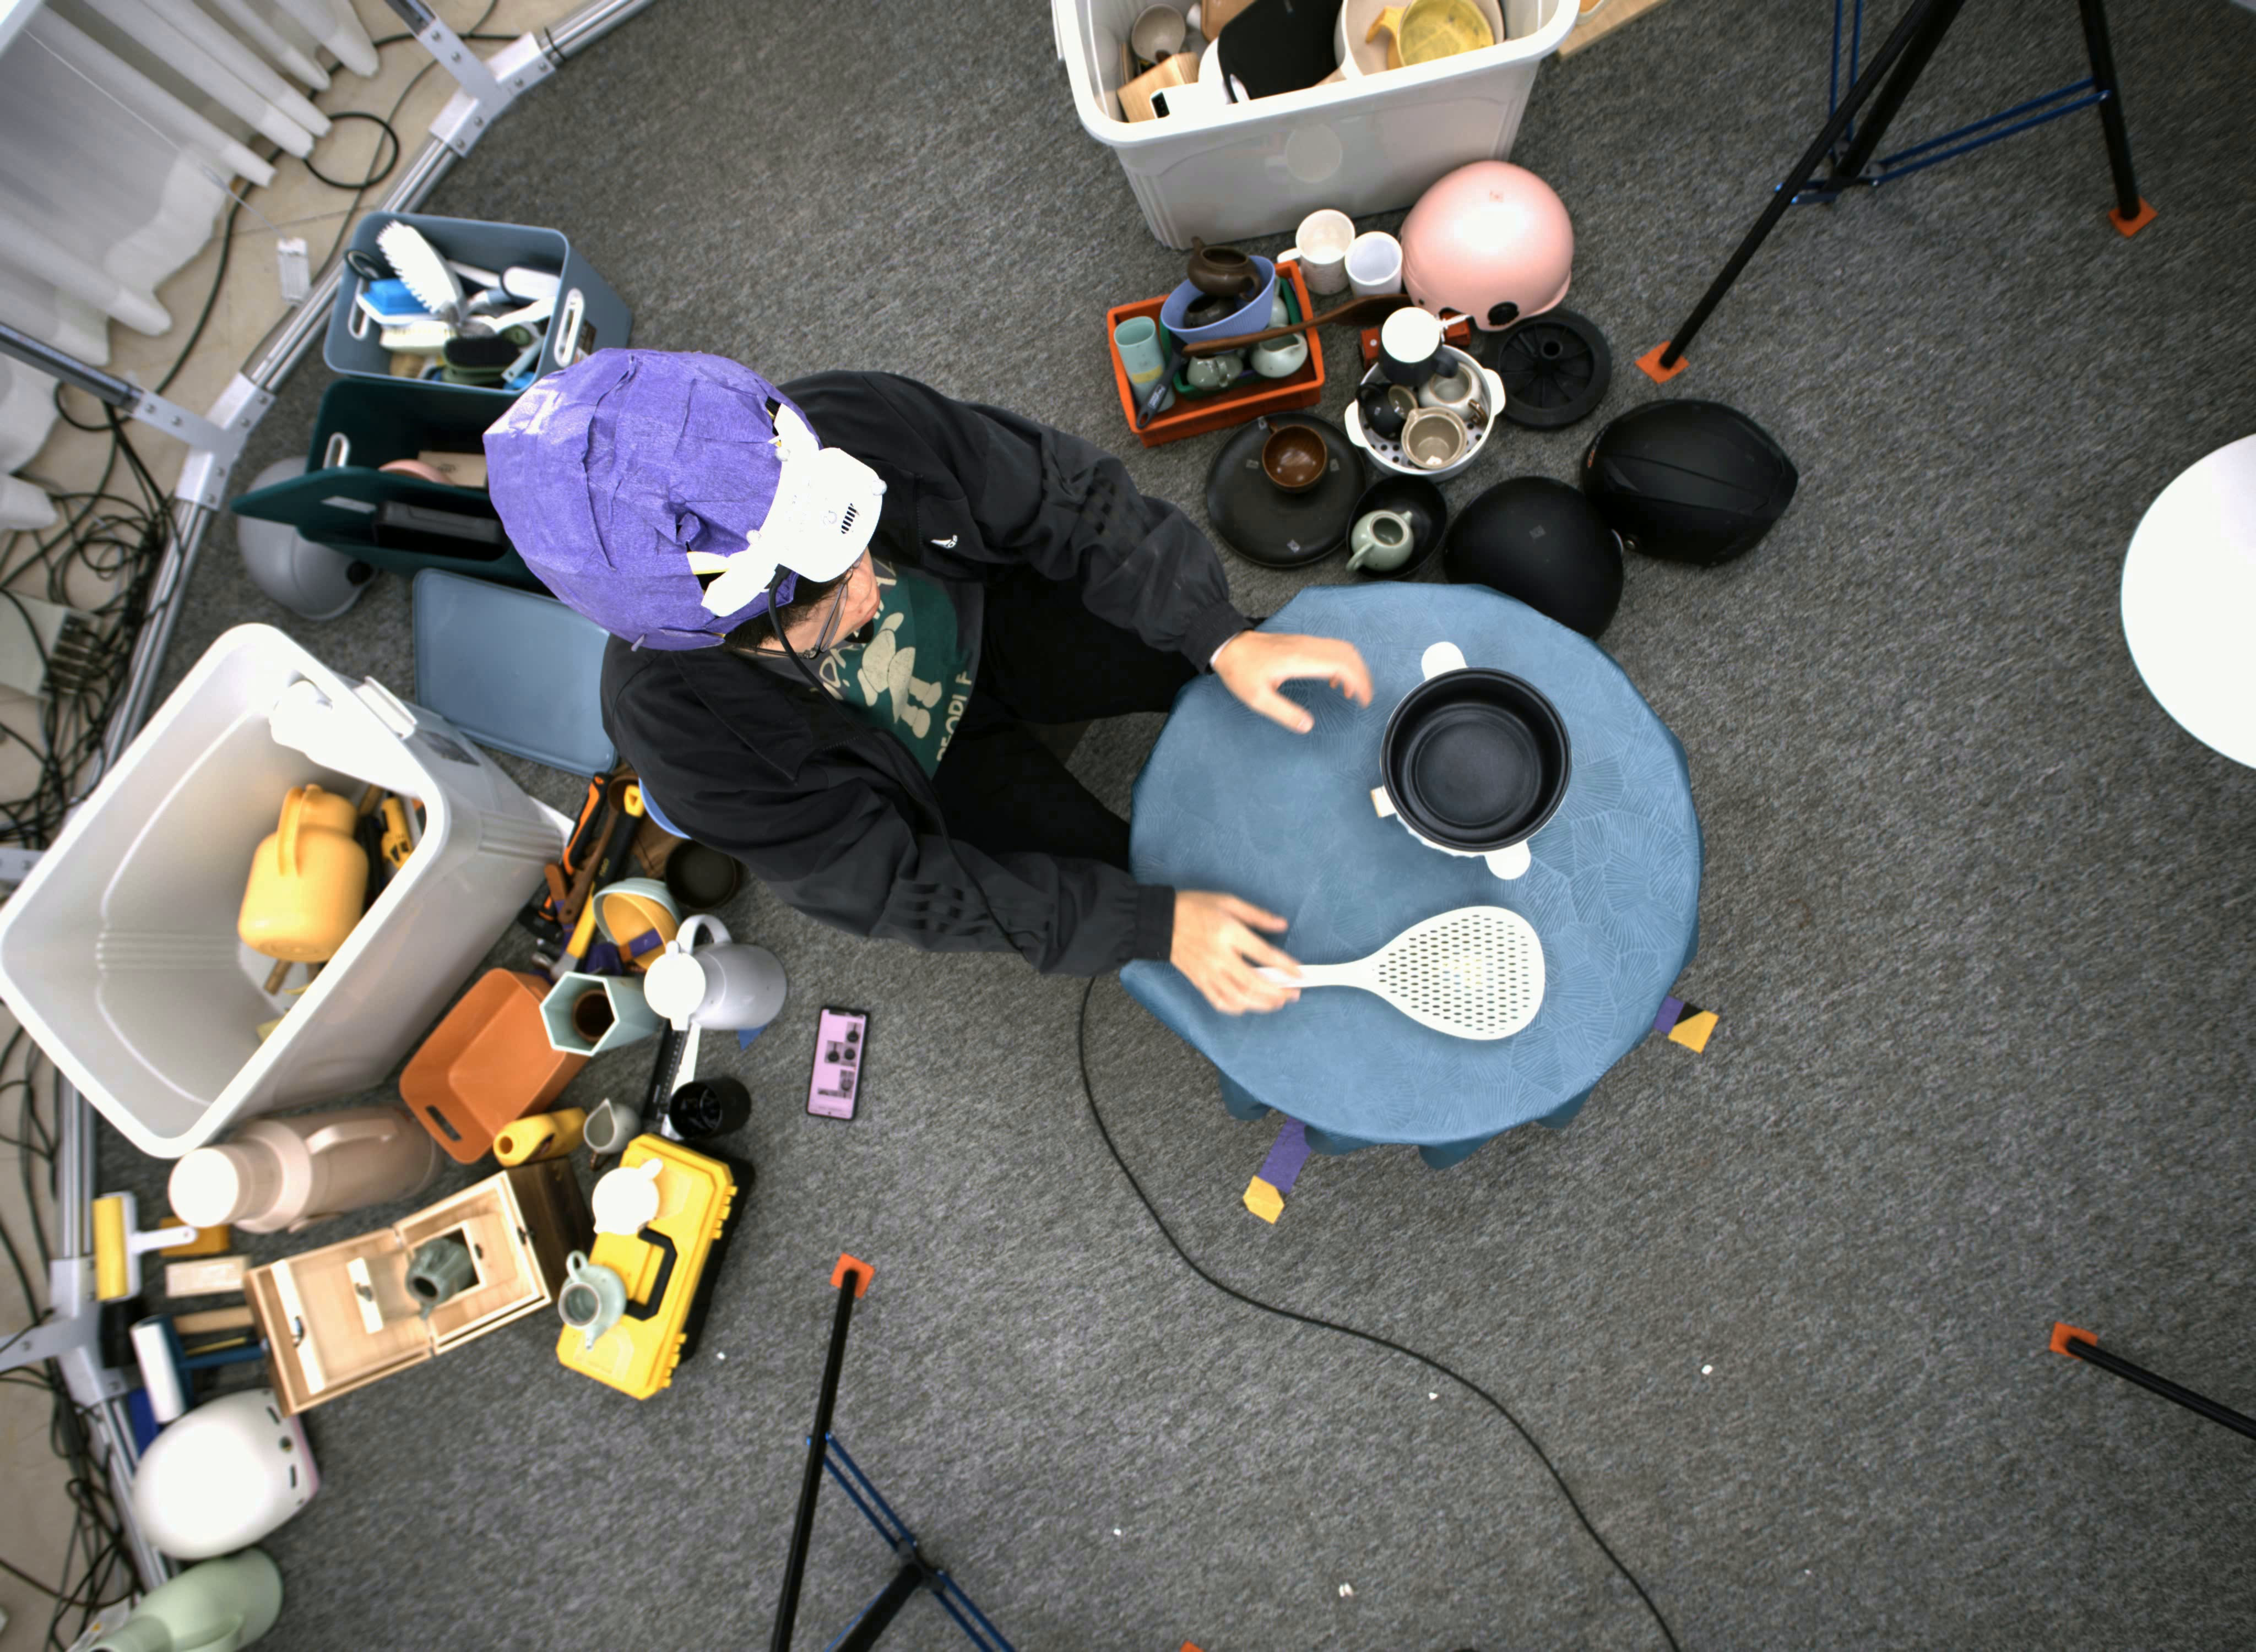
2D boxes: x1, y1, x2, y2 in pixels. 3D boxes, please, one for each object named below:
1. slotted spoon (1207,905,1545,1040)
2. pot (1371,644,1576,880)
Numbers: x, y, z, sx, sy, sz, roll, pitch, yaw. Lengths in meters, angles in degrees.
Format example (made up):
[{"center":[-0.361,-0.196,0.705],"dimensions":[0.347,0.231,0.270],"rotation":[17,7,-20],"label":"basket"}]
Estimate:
[{"center":[0.252,0.154,1.436],"dimensions":[0.349,0.050,0.136],"rotation":[-3,88,10],"label":"slotted spoon"},{"center":[0.341,-0.056,1.381],"dimensions":[0.191,0.143,0.238],"rotation":[-18,82,6],"label":"pot"}]
